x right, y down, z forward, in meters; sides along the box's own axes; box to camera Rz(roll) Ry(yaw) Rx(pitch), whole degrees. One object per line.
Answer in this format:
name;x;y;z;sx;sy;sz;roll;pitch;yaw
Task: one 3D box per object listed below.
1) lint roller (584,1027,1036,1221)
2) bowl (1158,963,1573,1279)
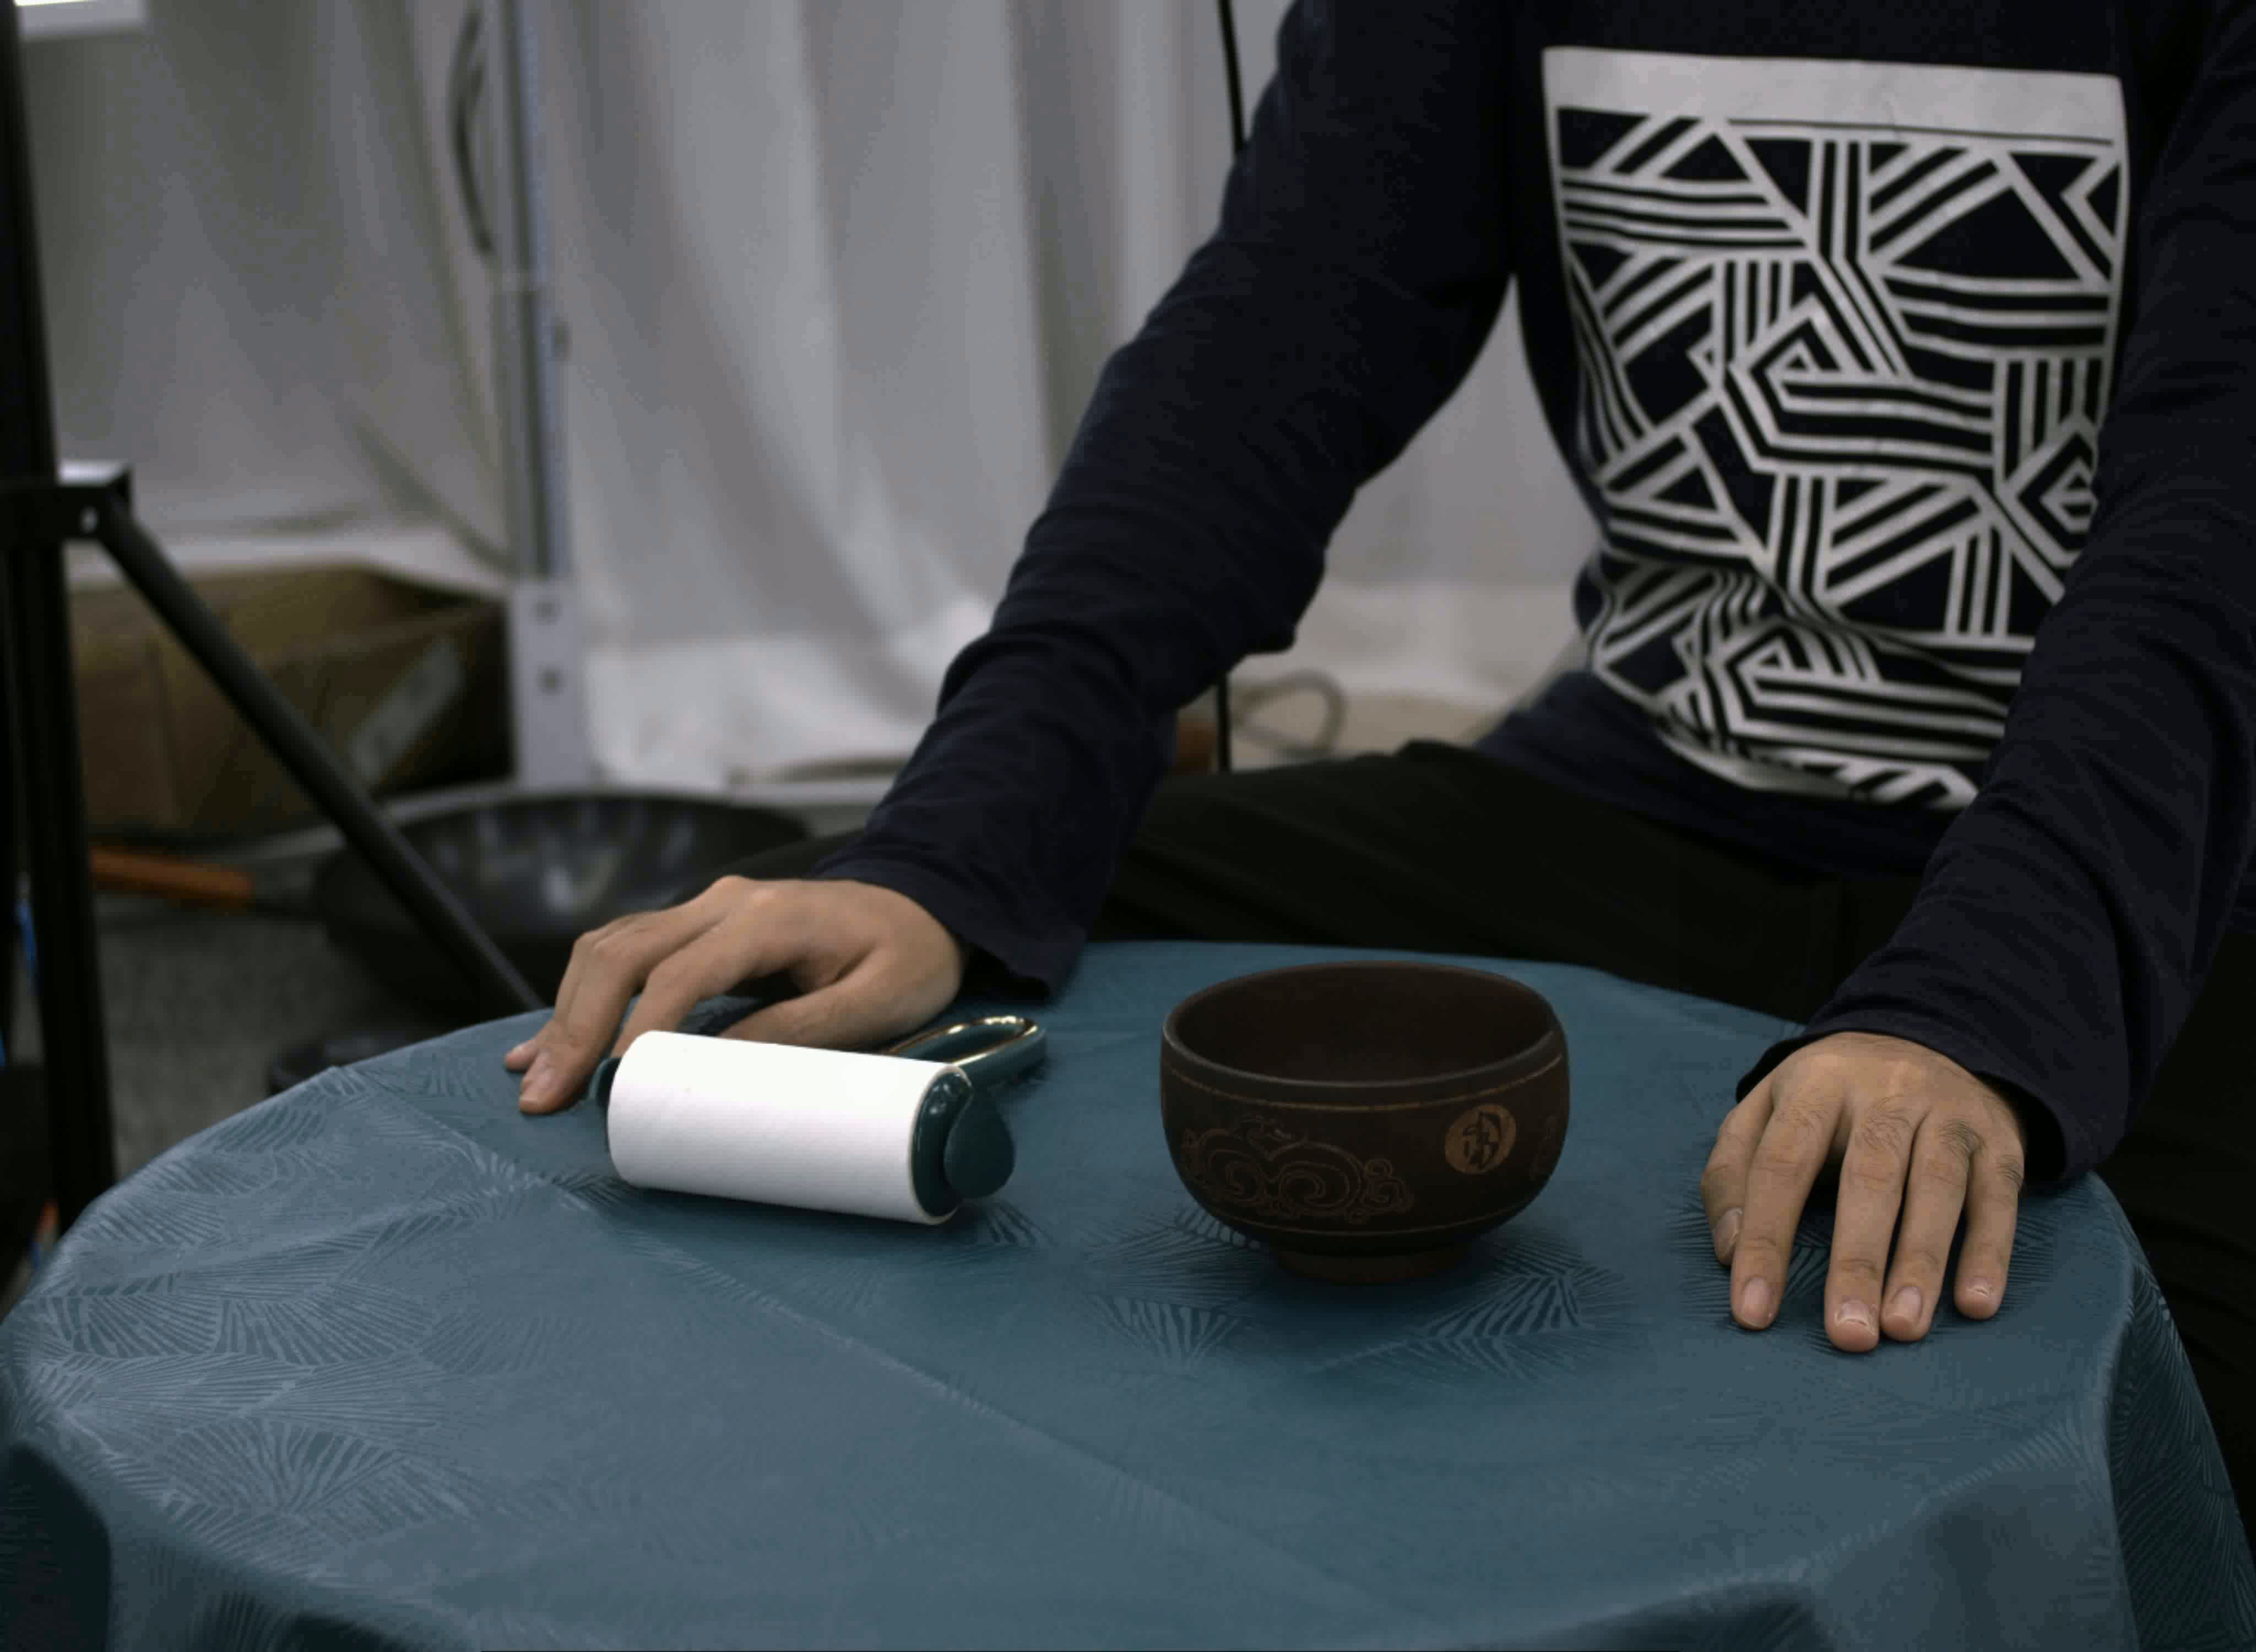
lint roller;-0.072;0.074;1.620;0.136;0.048;0.177;5;14;24
bowl;0.068;0.087;1.496;0.117;0.070;0.118;-3;13;-1
